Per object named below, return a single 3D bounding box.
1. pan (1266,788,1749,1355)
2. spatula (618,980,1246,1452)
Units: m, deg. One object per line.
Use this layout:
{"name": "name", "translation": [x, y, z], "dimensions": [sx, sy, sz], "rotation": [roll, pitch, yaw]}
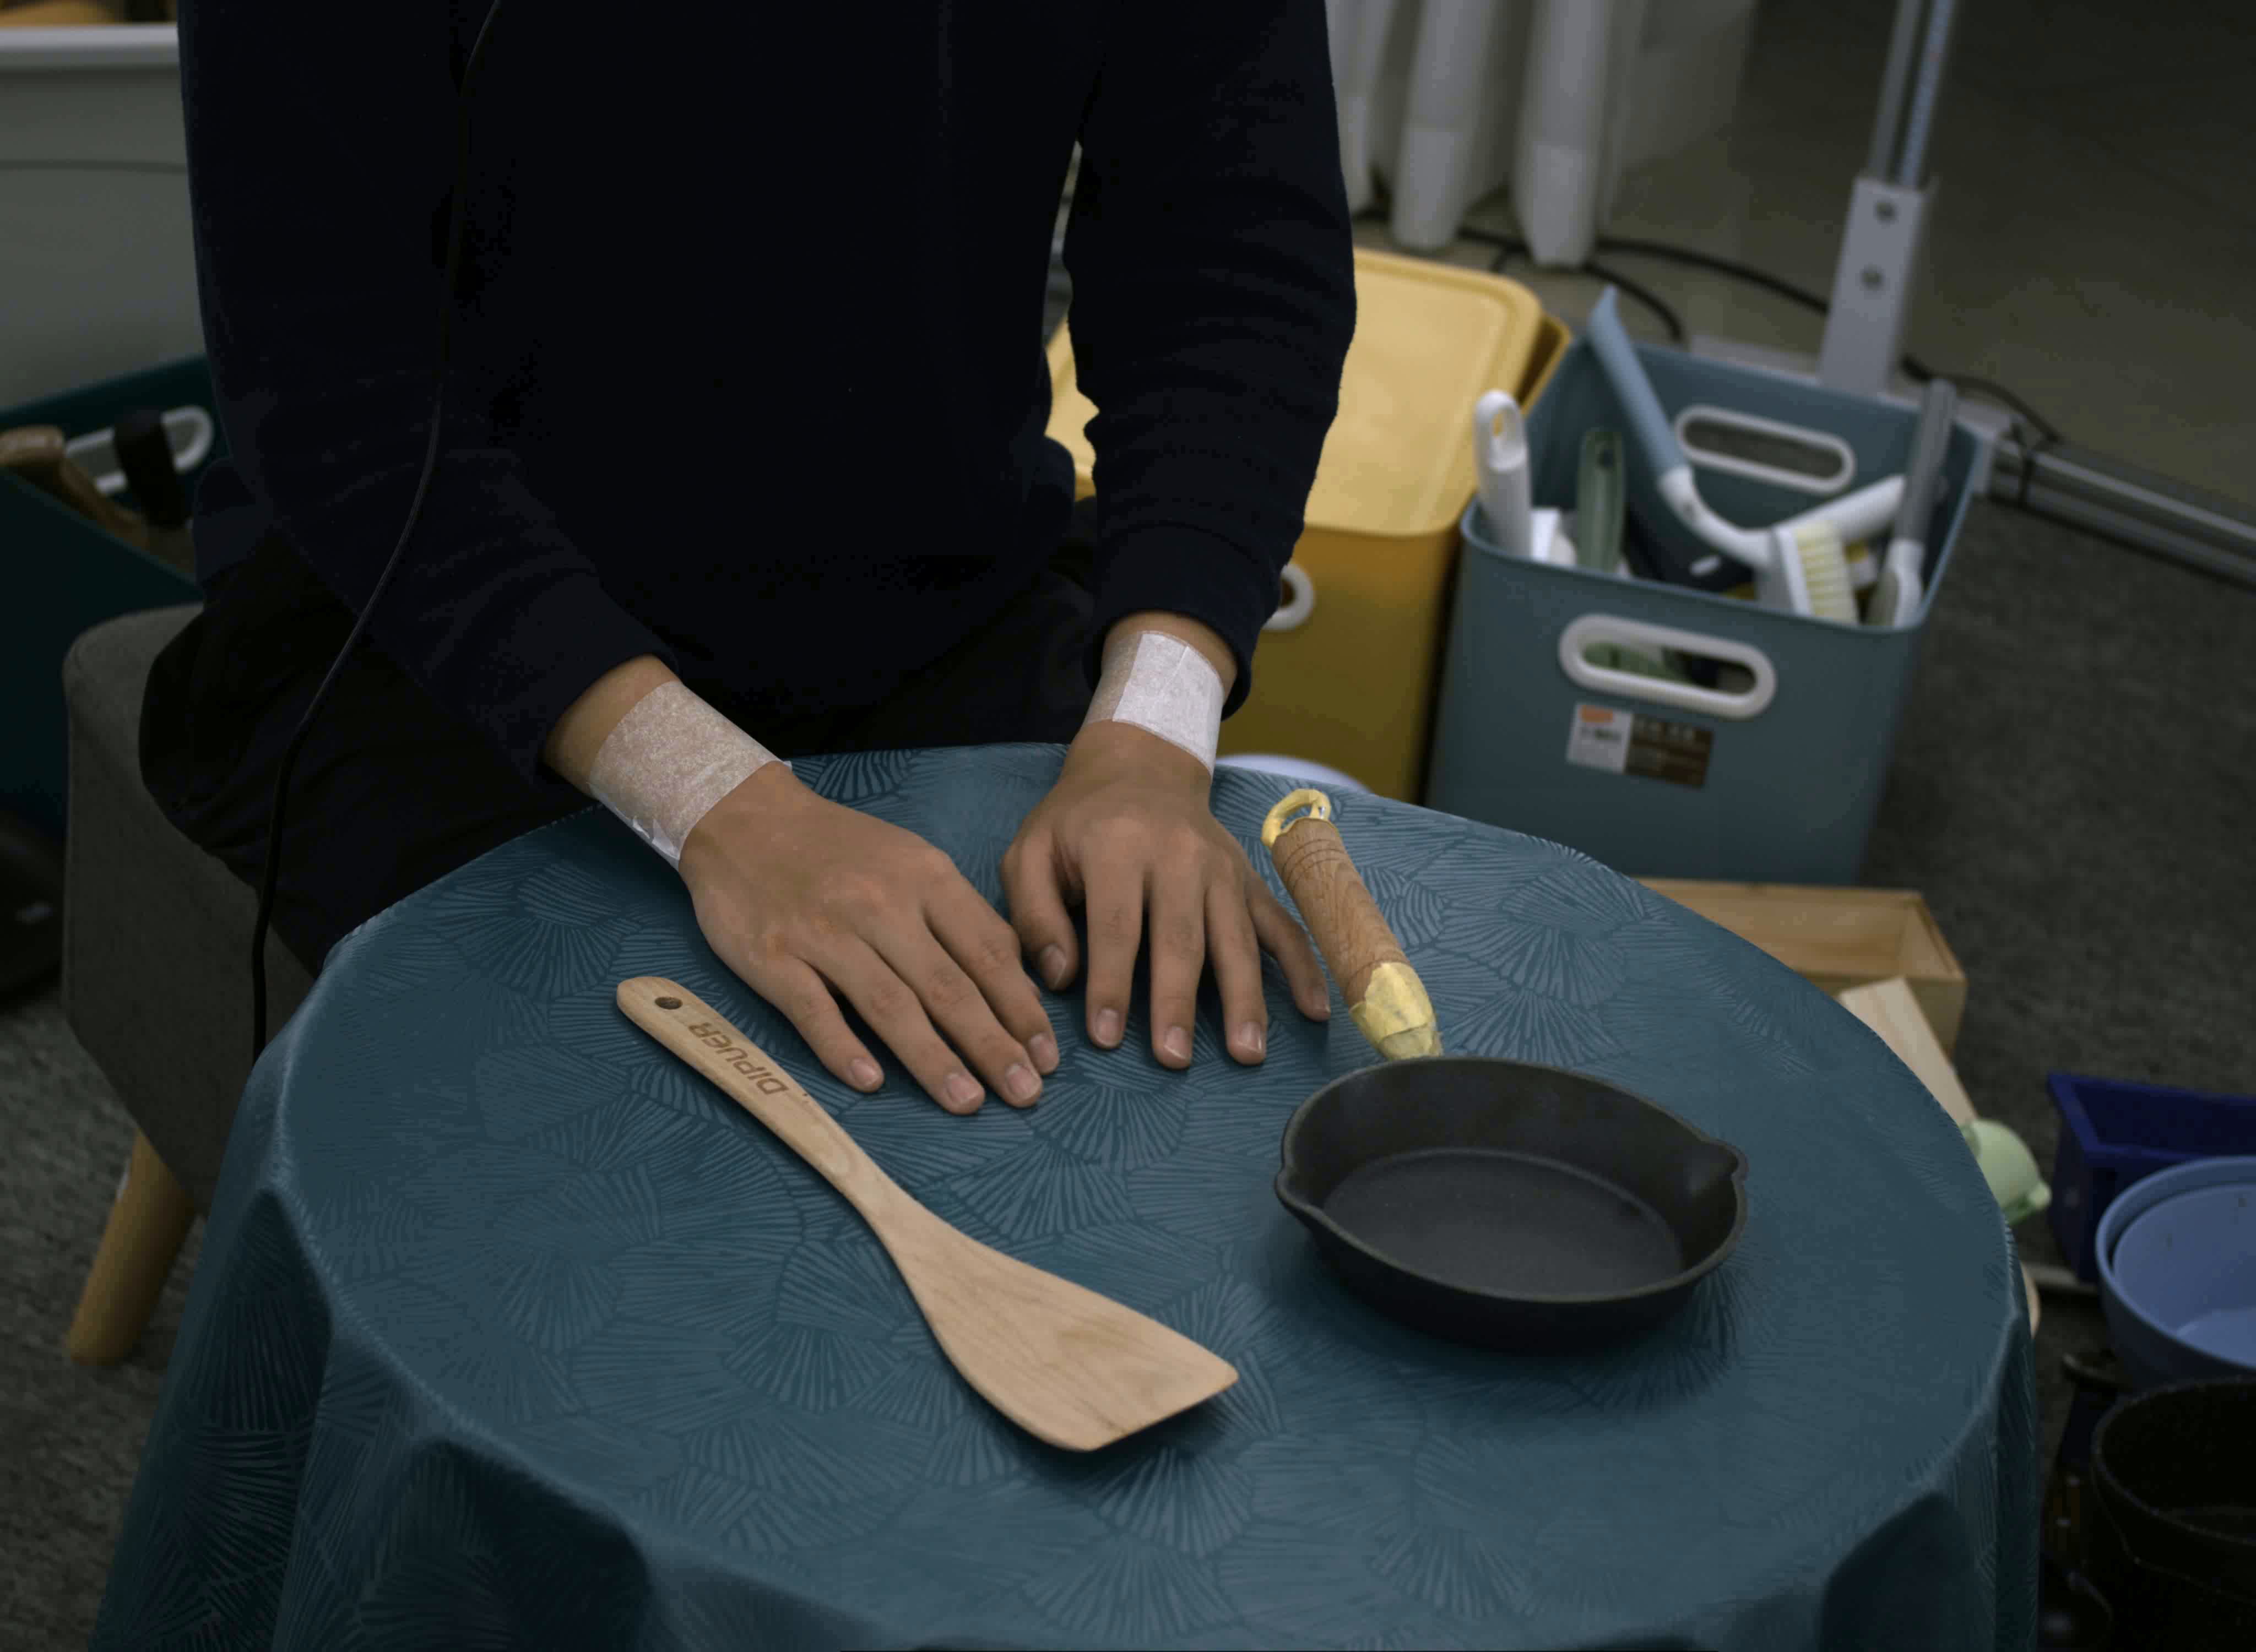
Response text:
{"name": "pan", "translation": [0.105, 0.083, 1.851], "dimensions": [0.168, 0.049, 0.327], "rotation": [-2, 30, -16]}
{"name": "spatula", "translation": [-0.079, 0.123, 1.769], "dimensions": [0.079, 0.016, 0.330], "rotation": [-12, 32, -34]}
